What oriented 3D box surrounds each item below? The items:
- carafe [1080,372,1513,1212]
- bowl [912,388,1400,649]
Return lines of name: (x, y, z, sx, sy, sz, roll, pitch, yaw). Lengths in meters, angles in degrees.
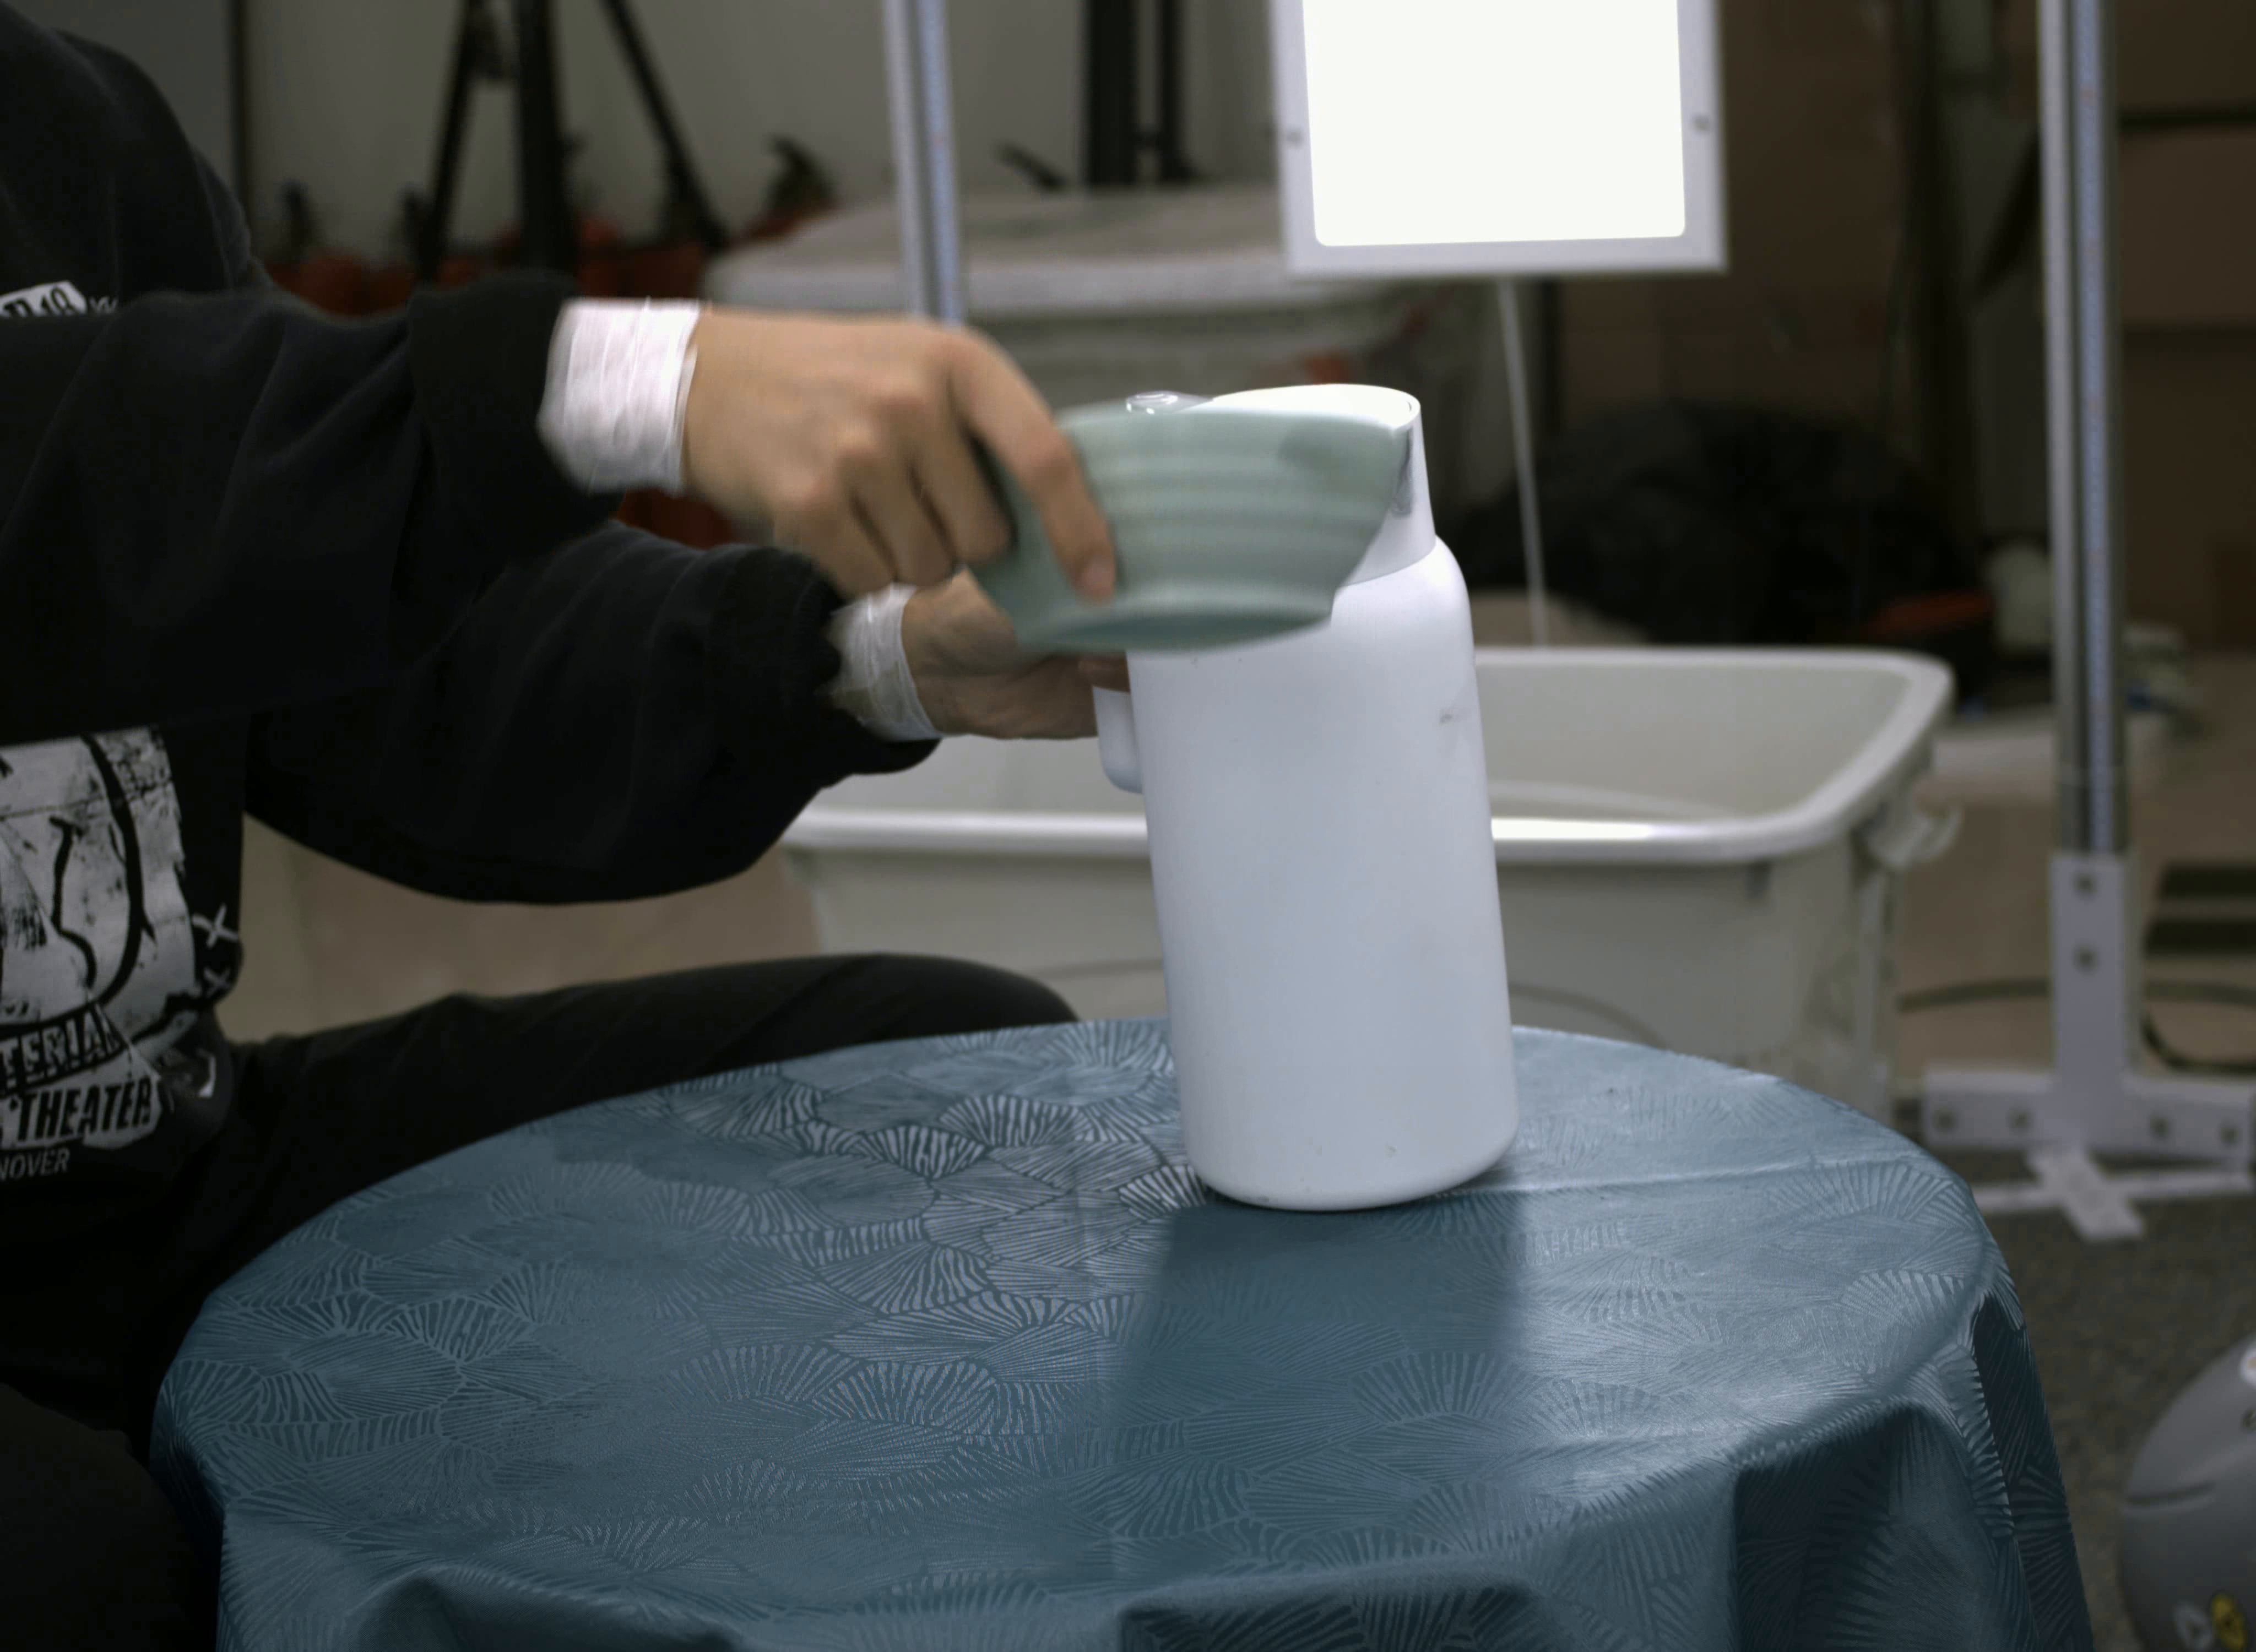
carafe: (0.051, -0.013, 1.875, 0.121, 0.269, 0.176, -22, 23, -33)
bowl: (0.010, -0.091, 1.687, 0.151, 0.059, 0.152, -3, -8, -2)
